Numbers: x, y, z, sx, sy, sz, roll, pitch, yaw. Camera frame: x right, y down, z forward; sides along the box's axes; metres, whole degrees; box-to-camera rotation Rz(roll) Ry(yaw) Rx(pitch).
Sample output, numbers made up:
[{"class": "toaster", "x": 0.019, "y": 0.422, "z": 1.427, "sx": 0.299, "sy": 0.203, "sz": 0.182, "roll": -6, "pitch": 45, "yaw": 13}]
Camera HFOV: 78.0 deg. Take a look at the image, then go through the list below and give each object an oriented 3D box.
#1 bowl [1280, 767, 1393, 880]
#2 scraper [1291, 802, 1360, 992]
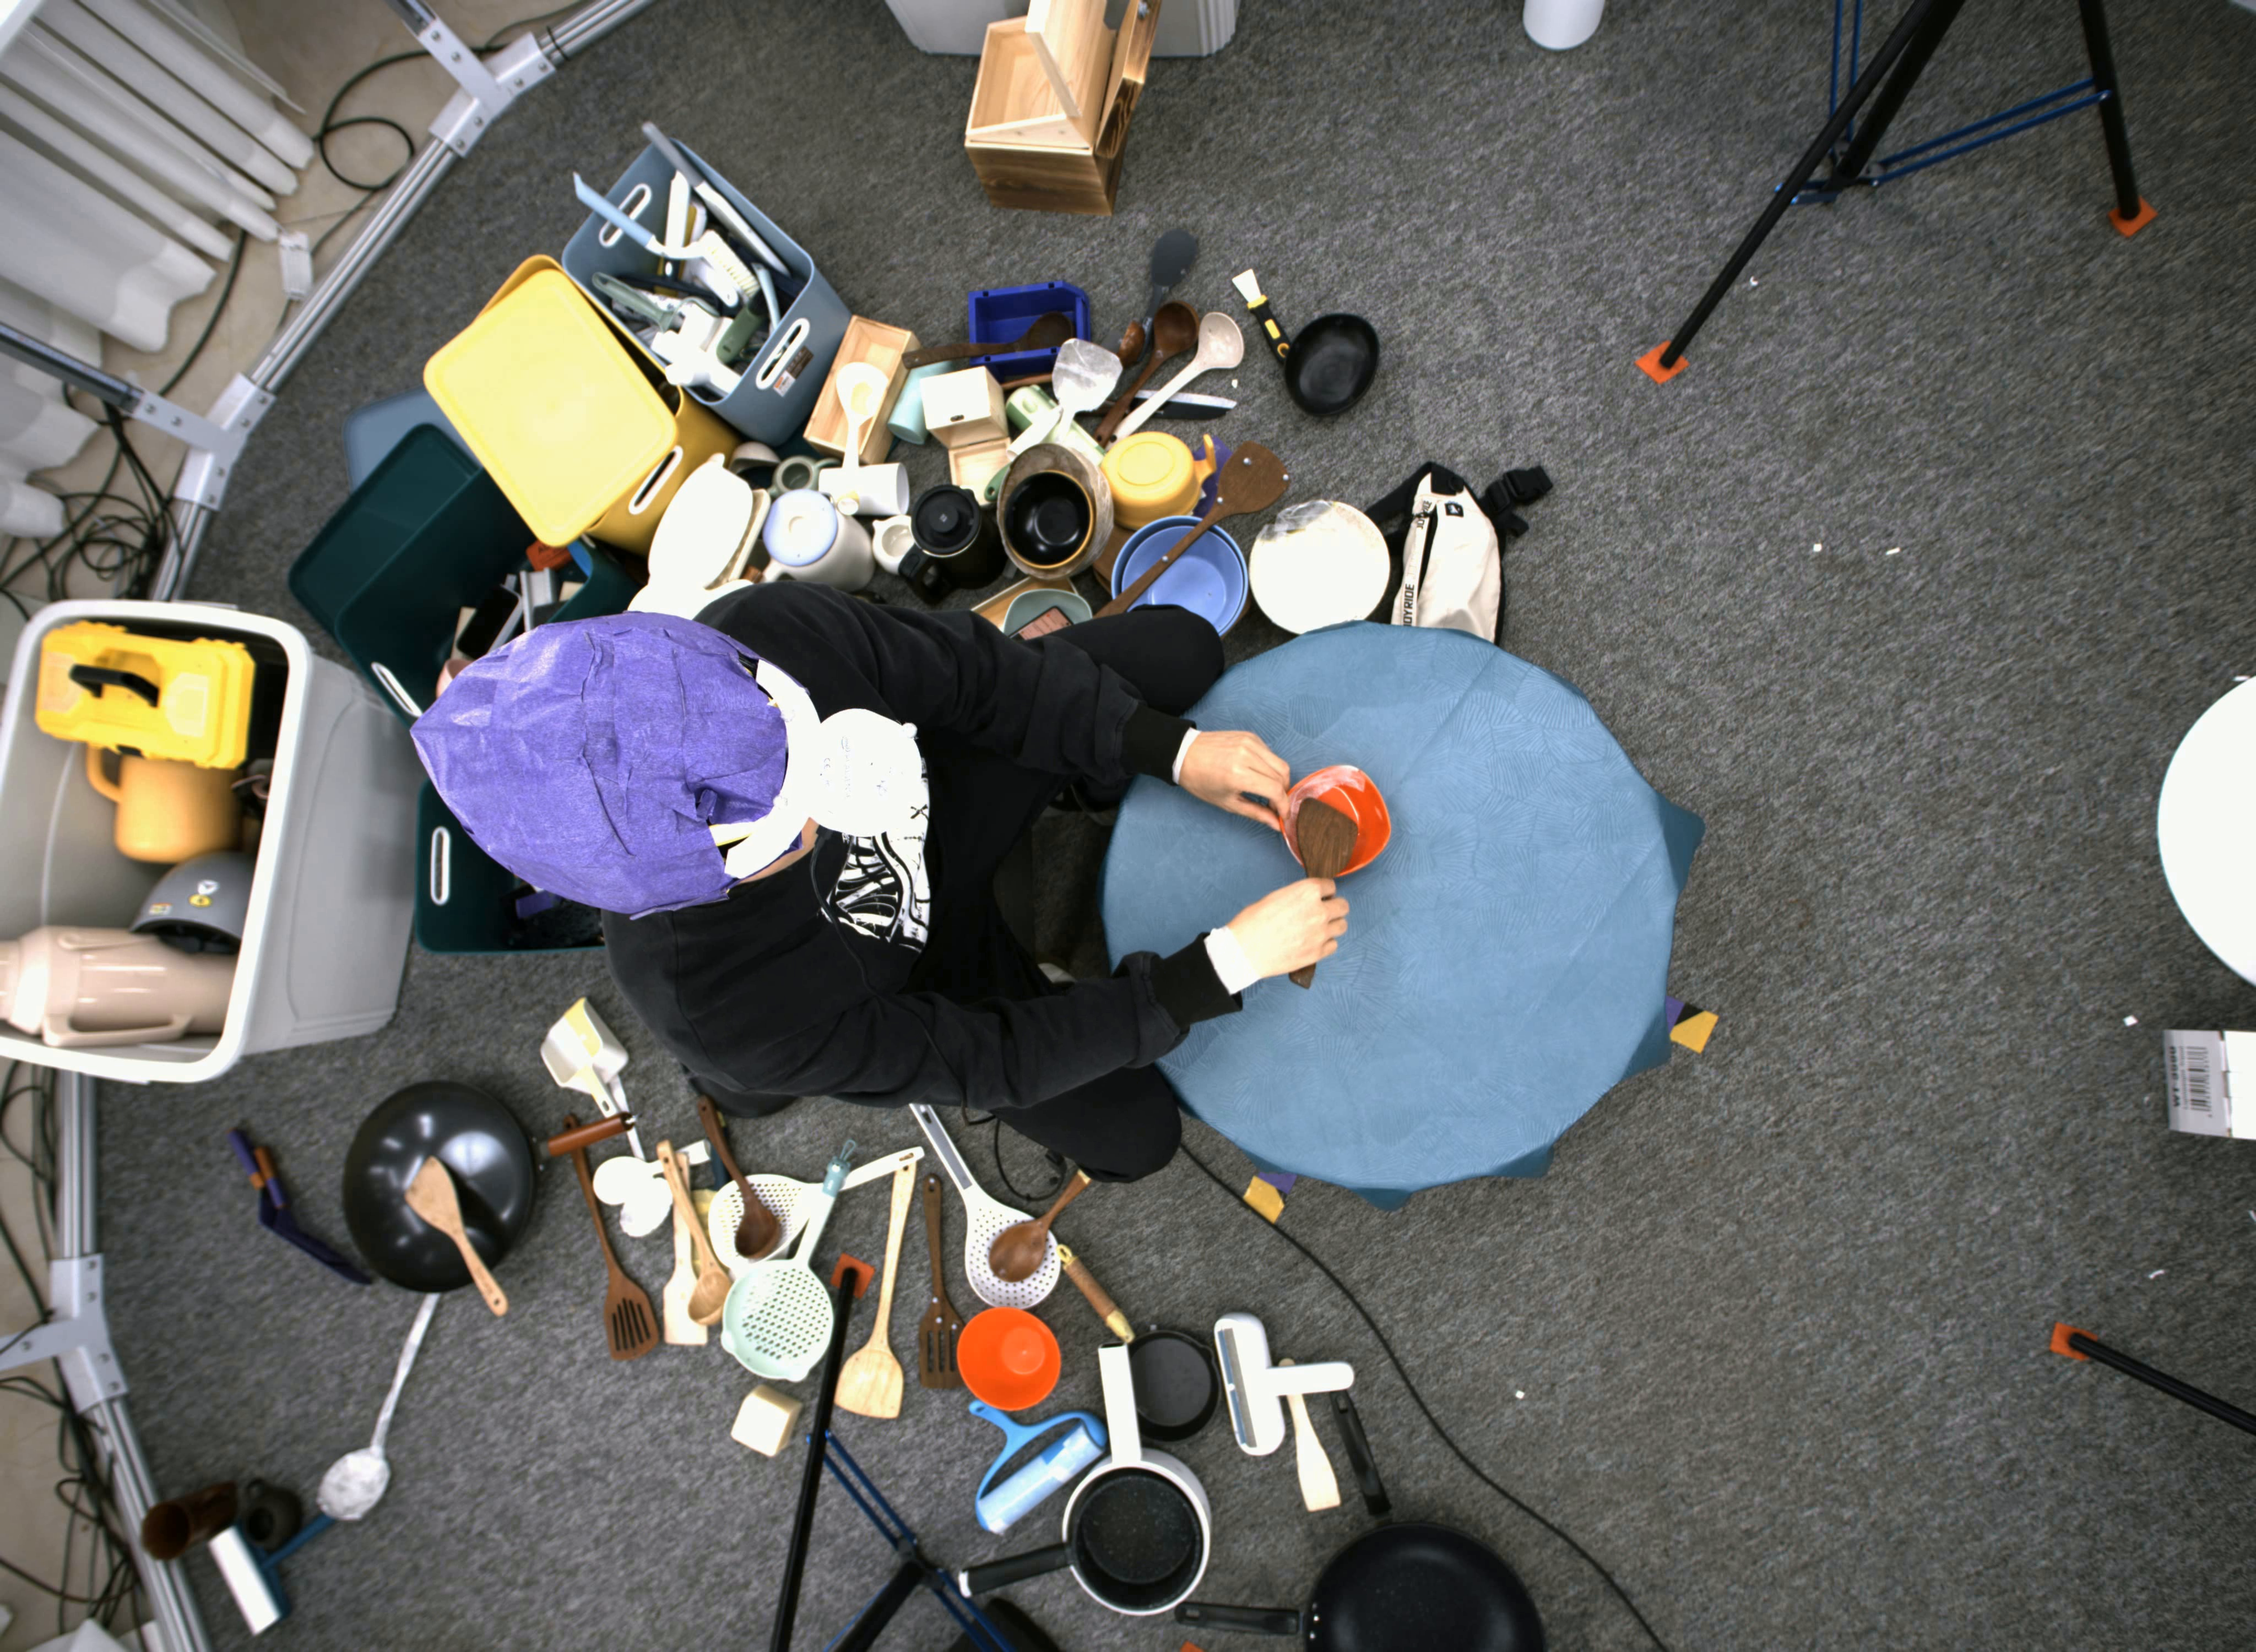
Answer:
[{"class": "bowl", "x": 0.214, "y": -0.004, "z": 1.446, "sx": 0.119, "sy": 0.051, "sz": 0.119, "roll": 0, "pitch": 95, "yaw": -4}, {"class": "scraper", "x": 0.189, "y": 0.071, "z": 1.380, "sx": 0.076, "sy": 0.011, "sz": 0.206, "roll": 28, "pitch": 56, "yaw": -19}]
